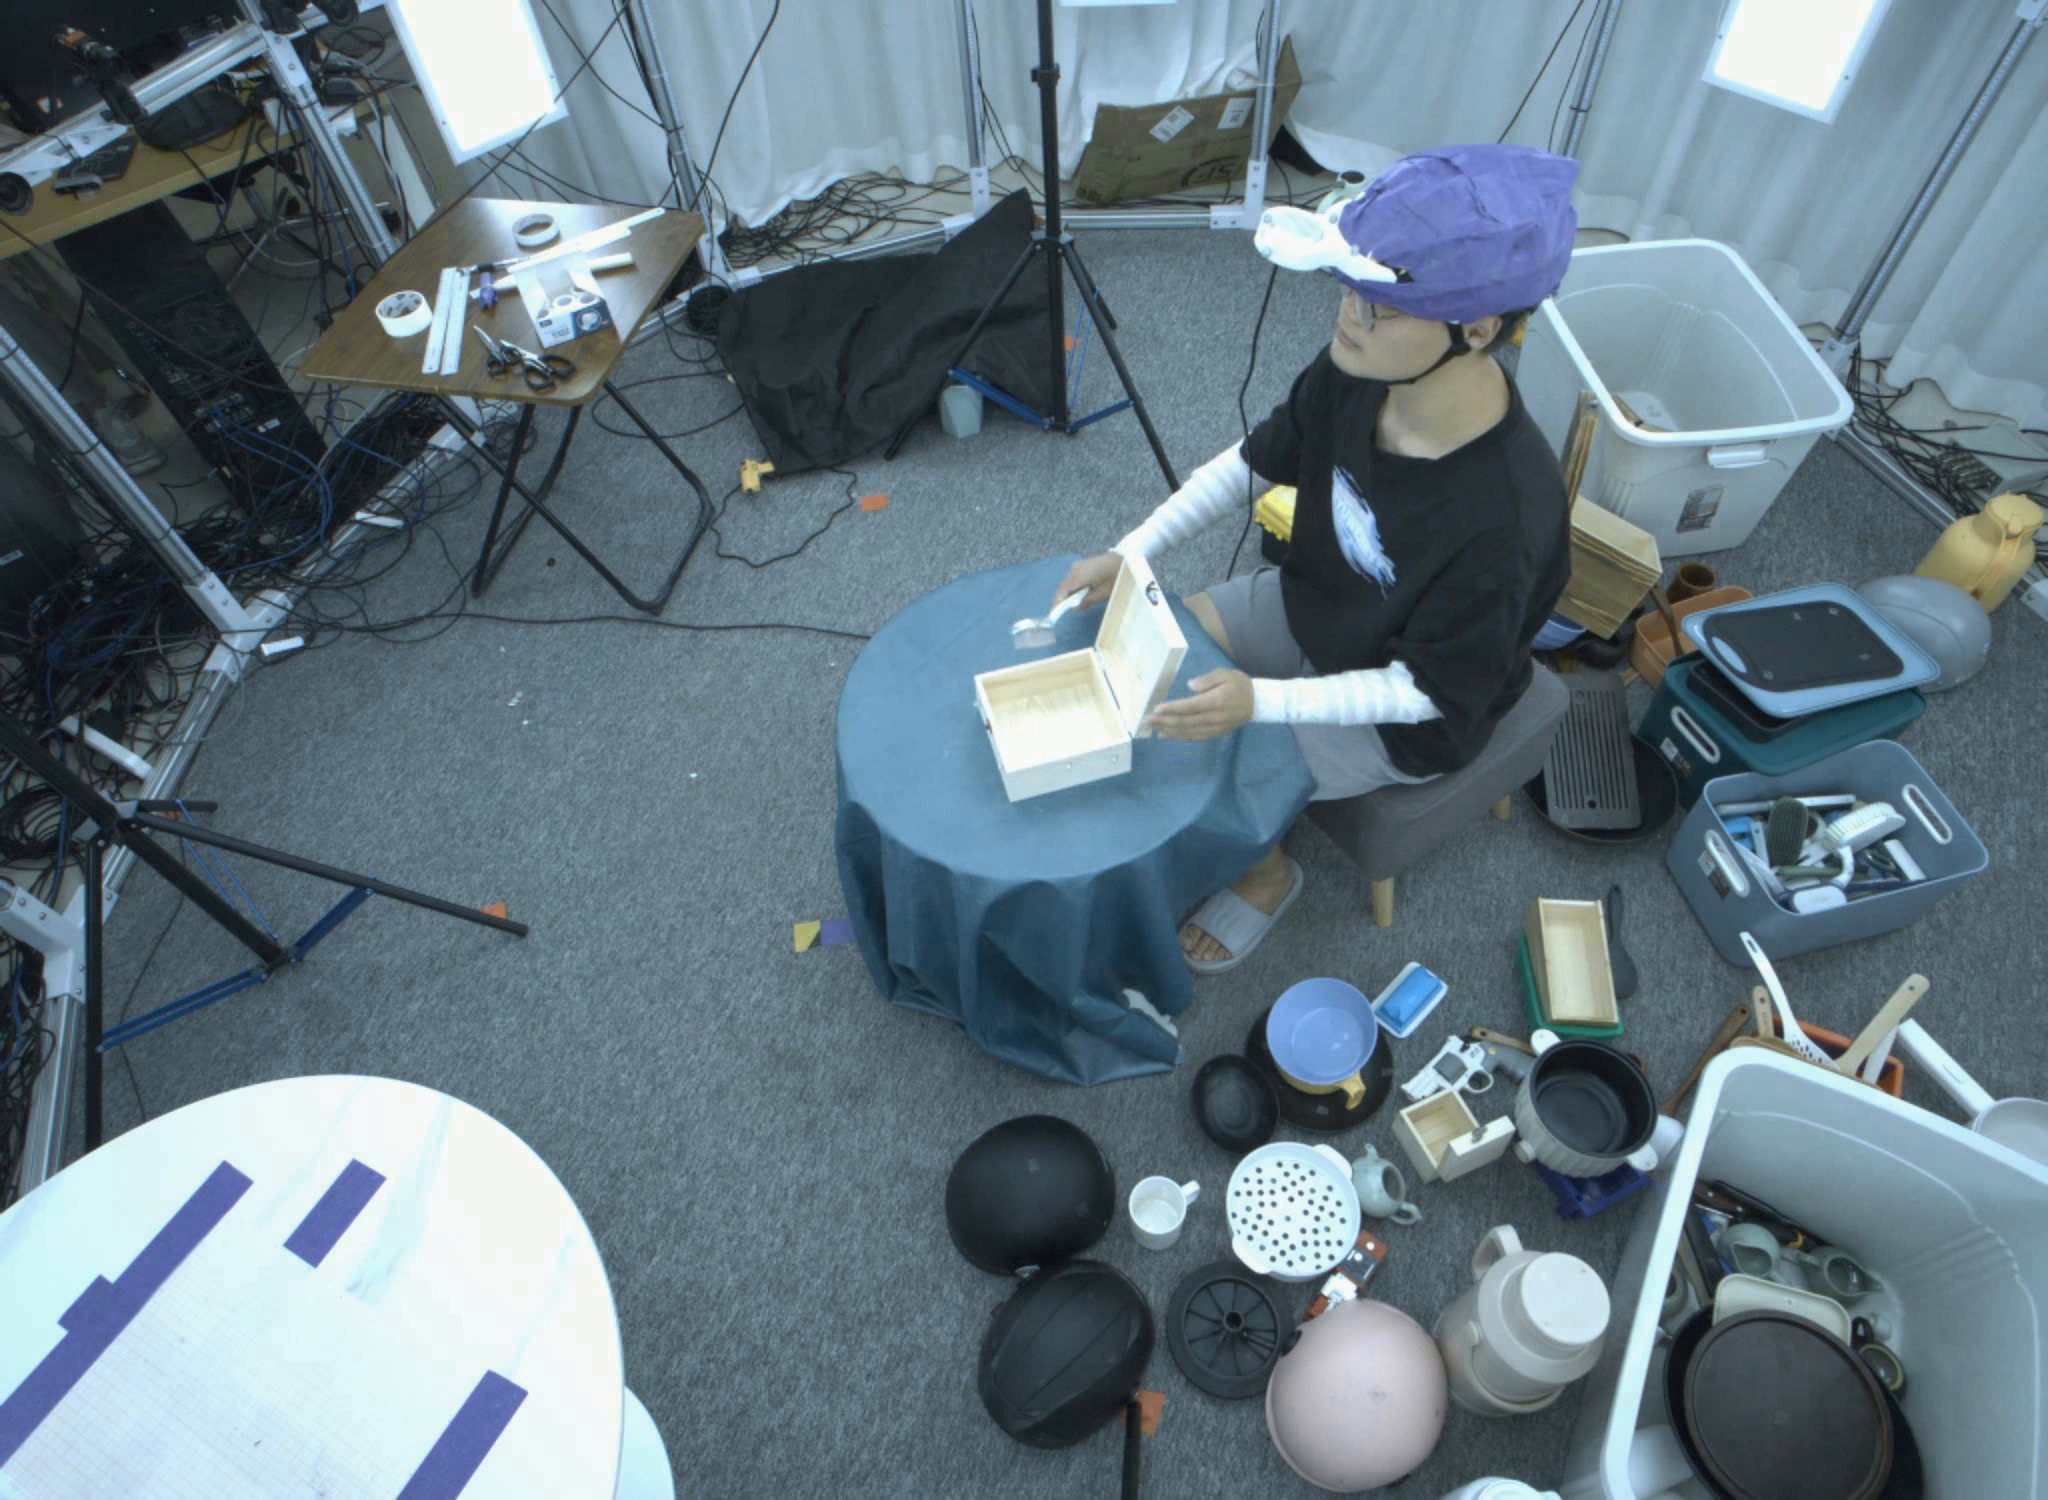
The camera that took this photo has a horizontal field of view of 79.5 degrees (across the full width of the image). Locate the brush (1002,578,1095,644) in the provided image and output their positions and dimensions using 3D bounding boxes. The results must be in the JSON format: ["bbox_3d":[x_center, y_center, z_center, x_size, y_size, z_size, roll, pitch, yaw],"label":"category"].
[{"bbox_3d":[0.046,-0.204,1.819,0.034,0.050,0.246,-18,10,39],"label":"brush"}]

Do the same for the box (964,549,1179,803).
[{"bbox_3d":[0.055,-0.101,1.696,0.267,0.256,0.178,-16,53,-8],"label":"box"}]
